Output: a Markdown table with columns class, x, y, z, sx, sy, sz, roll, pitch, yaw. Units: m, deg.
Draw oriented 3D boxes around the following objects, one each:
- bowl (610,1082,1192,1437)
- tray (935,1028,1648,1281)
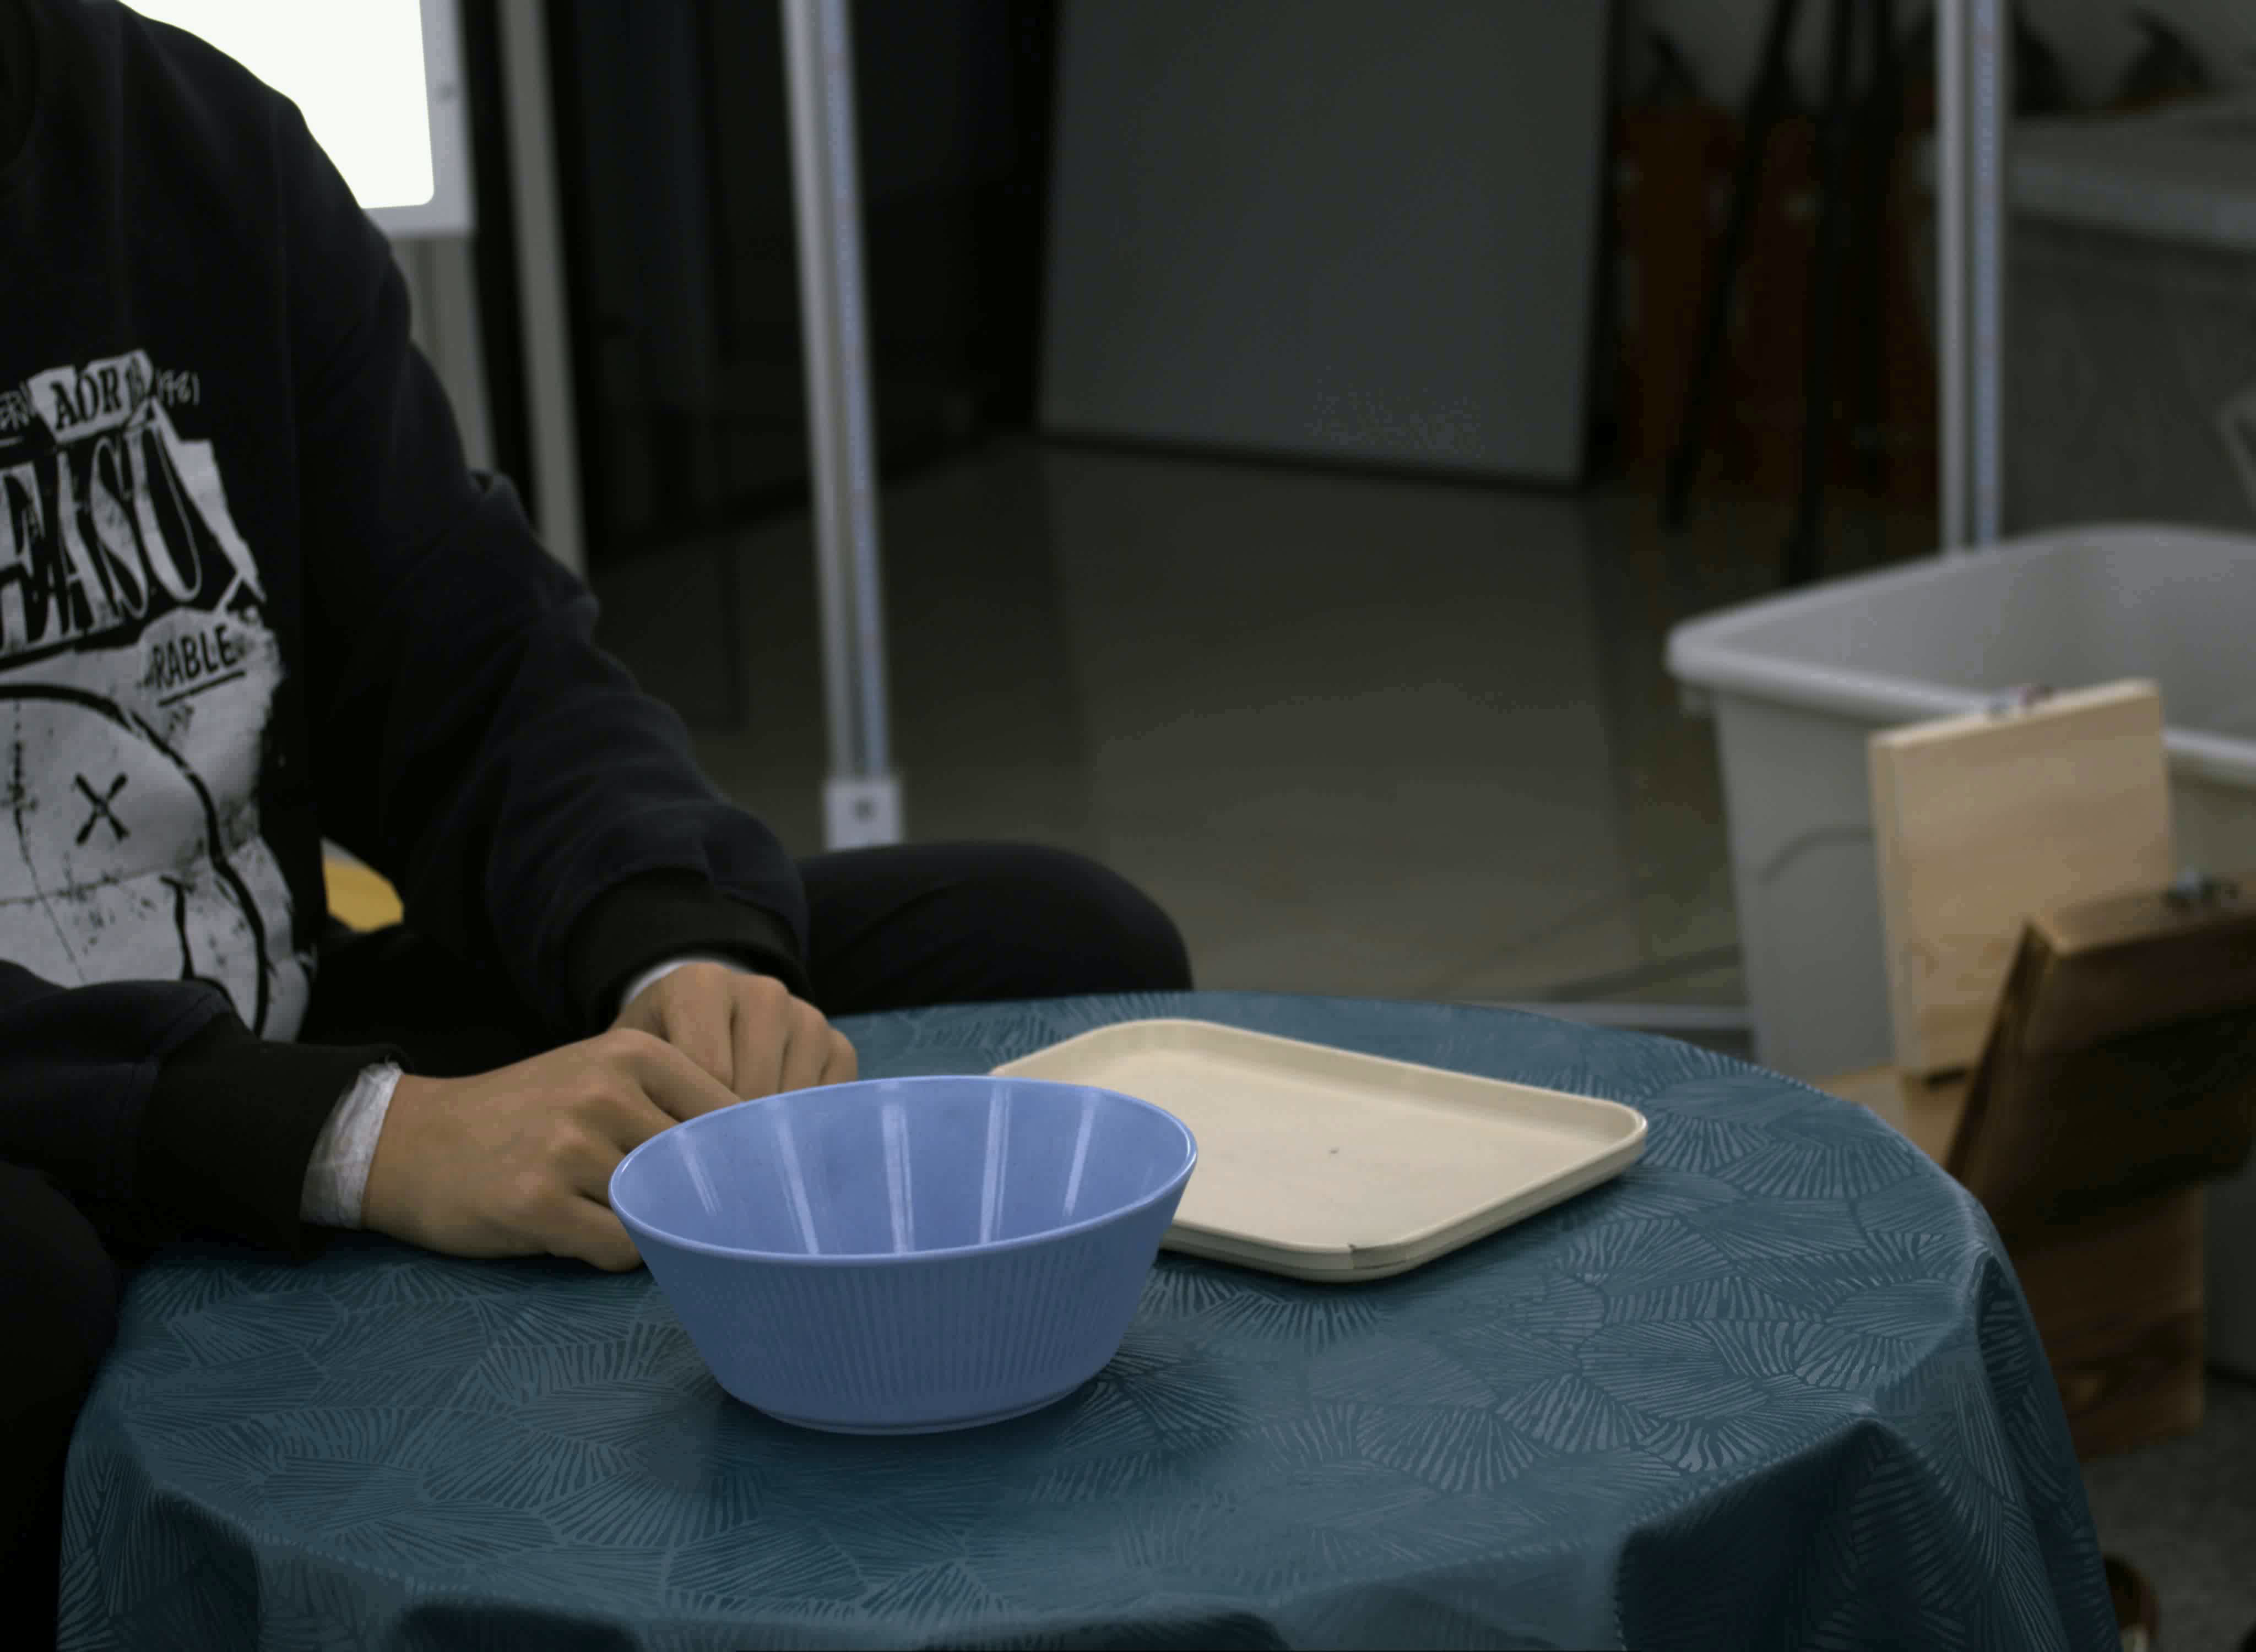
| class | x | y | z | sx | sy | sz | roll | pitch | yaw |
| --- | --- | --- | --- | --- | --- | --- | --- | --- | --- |
| bowl | -0.065 | 0.131 | 1.603 | 0.174 | 0.071 | 0.176 | -4 | 13 | 0 |
| tray | 0.040 | 0.107 | 1.779 | 0.242 | 0.017 | 0.168 | 9 | 18 | 42 |
